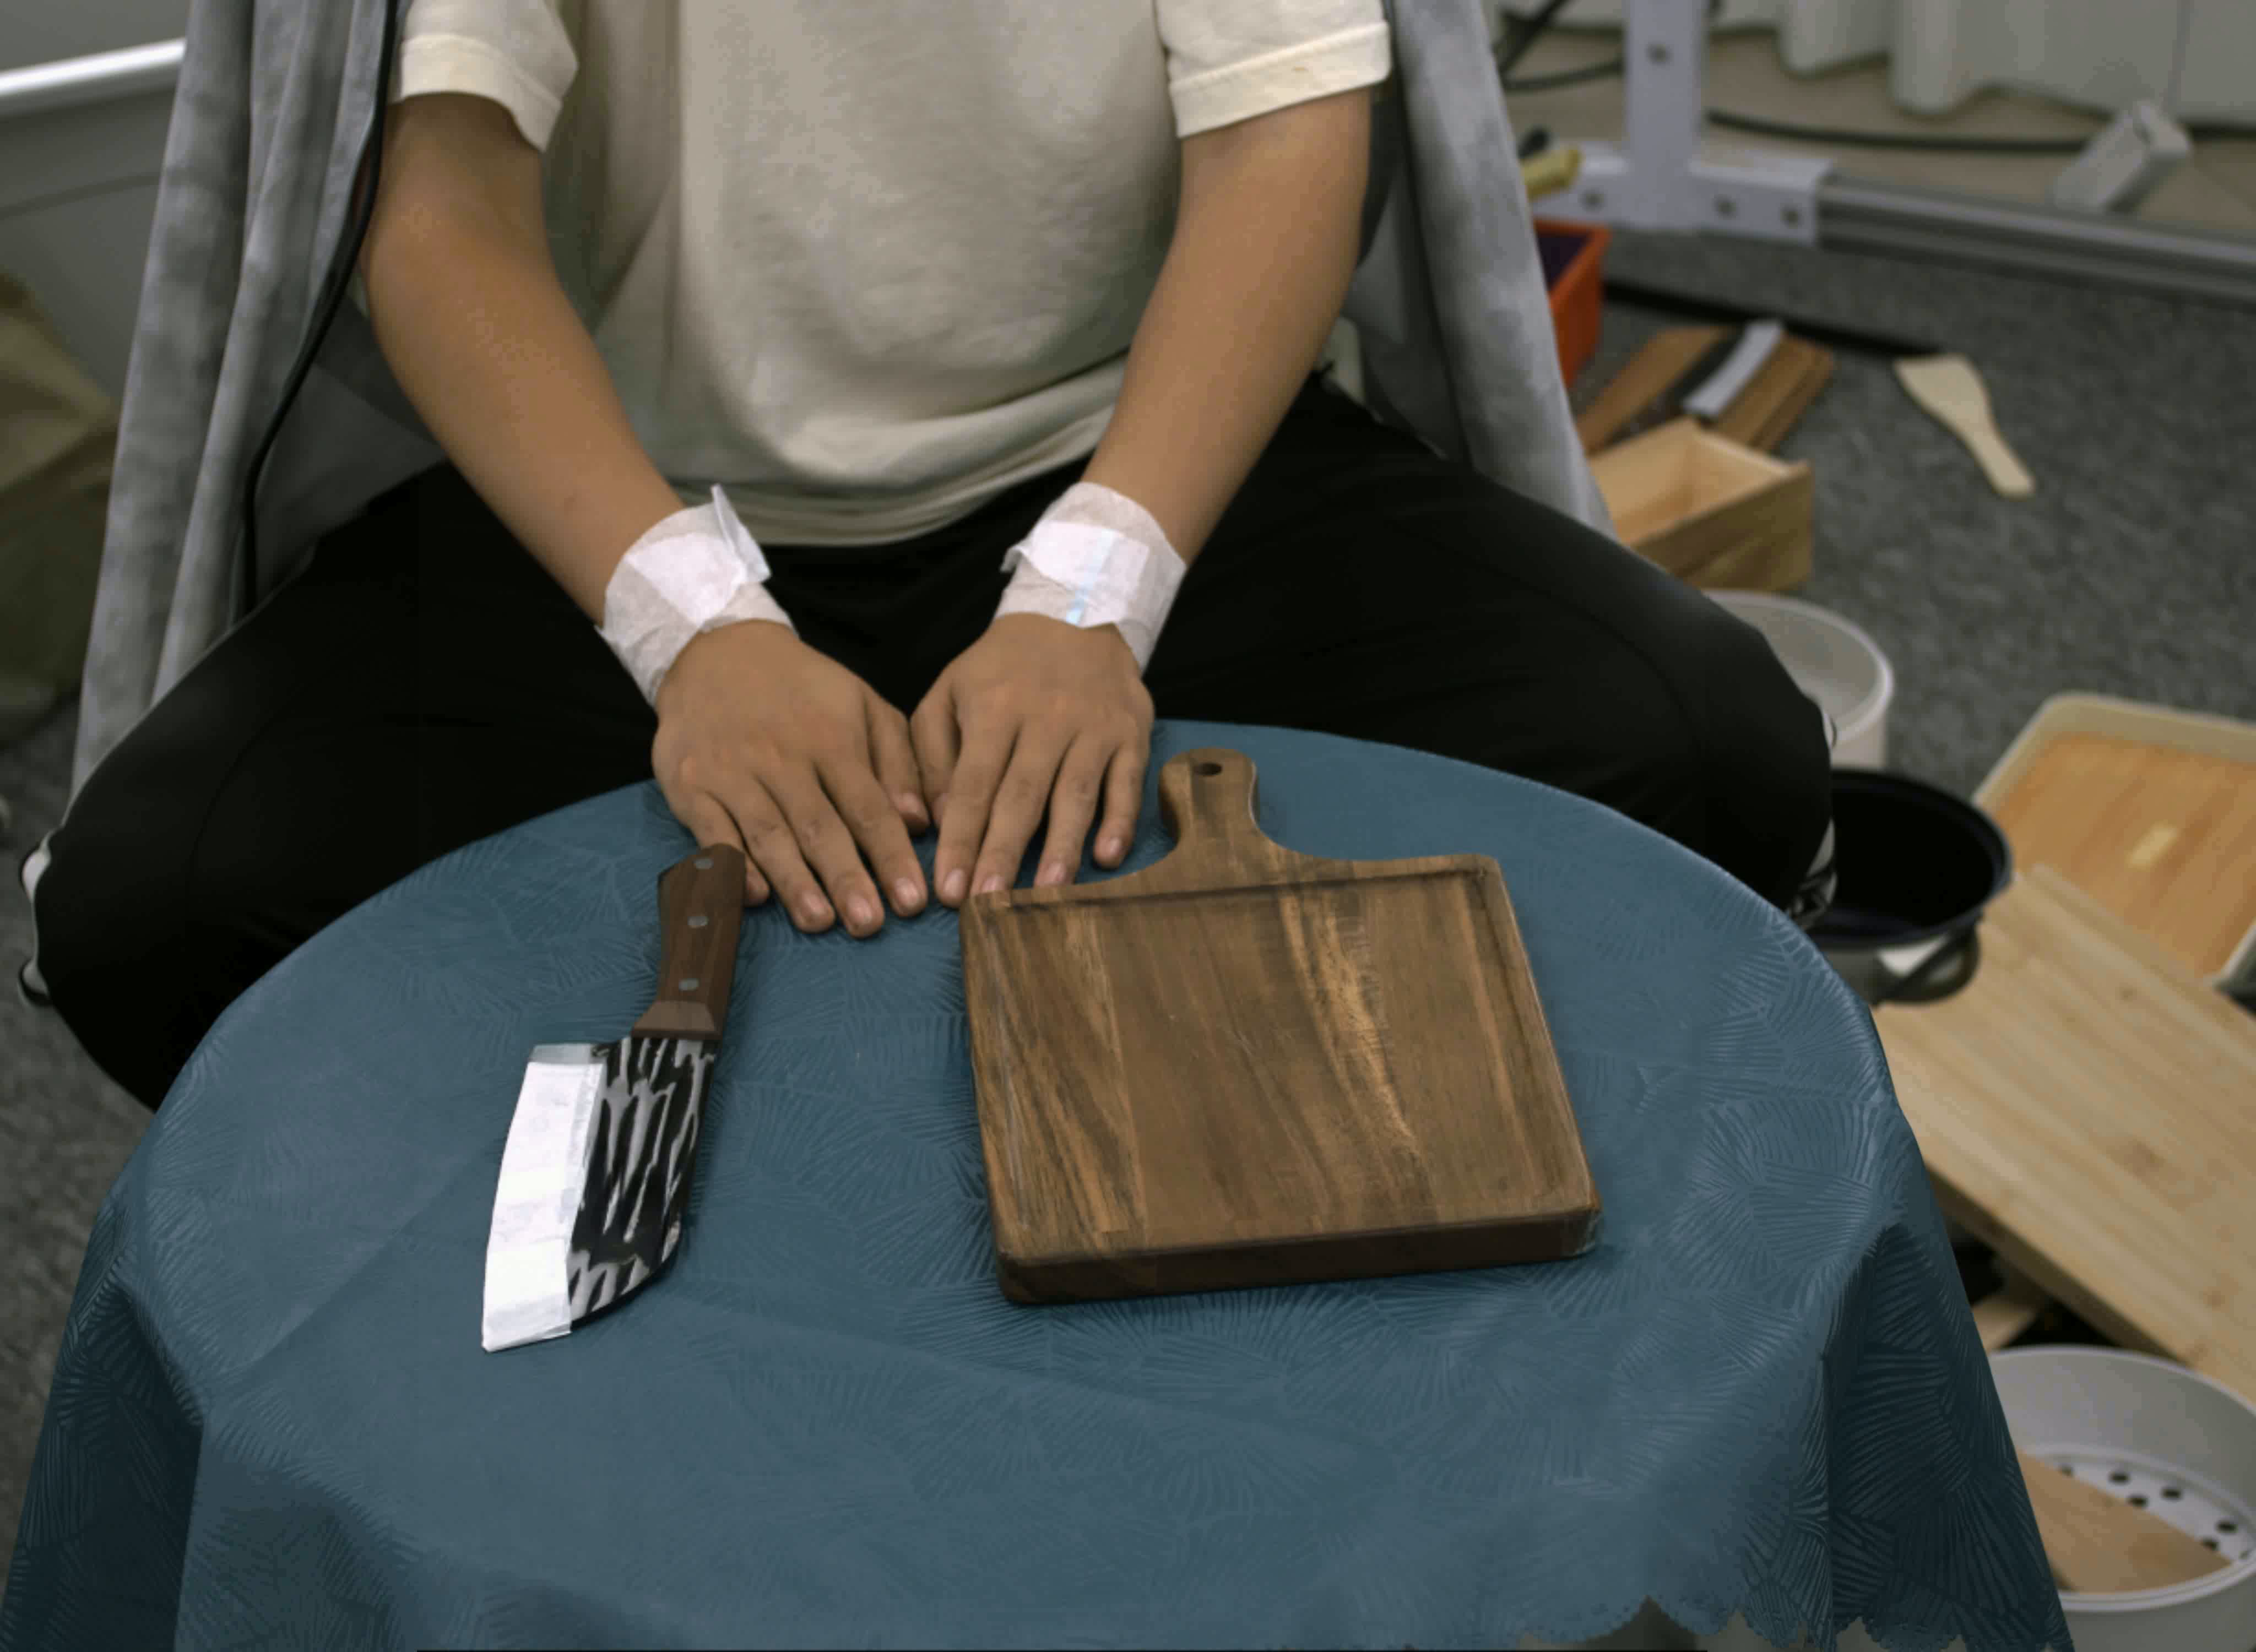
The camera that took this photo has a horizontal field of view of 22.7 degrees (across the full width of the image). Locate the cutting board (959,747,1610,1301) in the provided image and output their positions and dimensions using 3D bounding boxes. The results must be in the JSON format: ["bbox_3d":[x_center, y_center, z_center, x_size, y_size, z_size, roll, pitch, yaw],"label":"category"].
[{"bbox_3d":[0.044,0.058,1.956,0.200,0.023,0.357,-4,27,-3],"label":"cutting board"}]

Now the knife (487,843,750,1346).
[{"bbox_3d":[-0.173,0.090,1.919,0.067,0.024,0.304,-3,30,5],"label":"knife"}]
